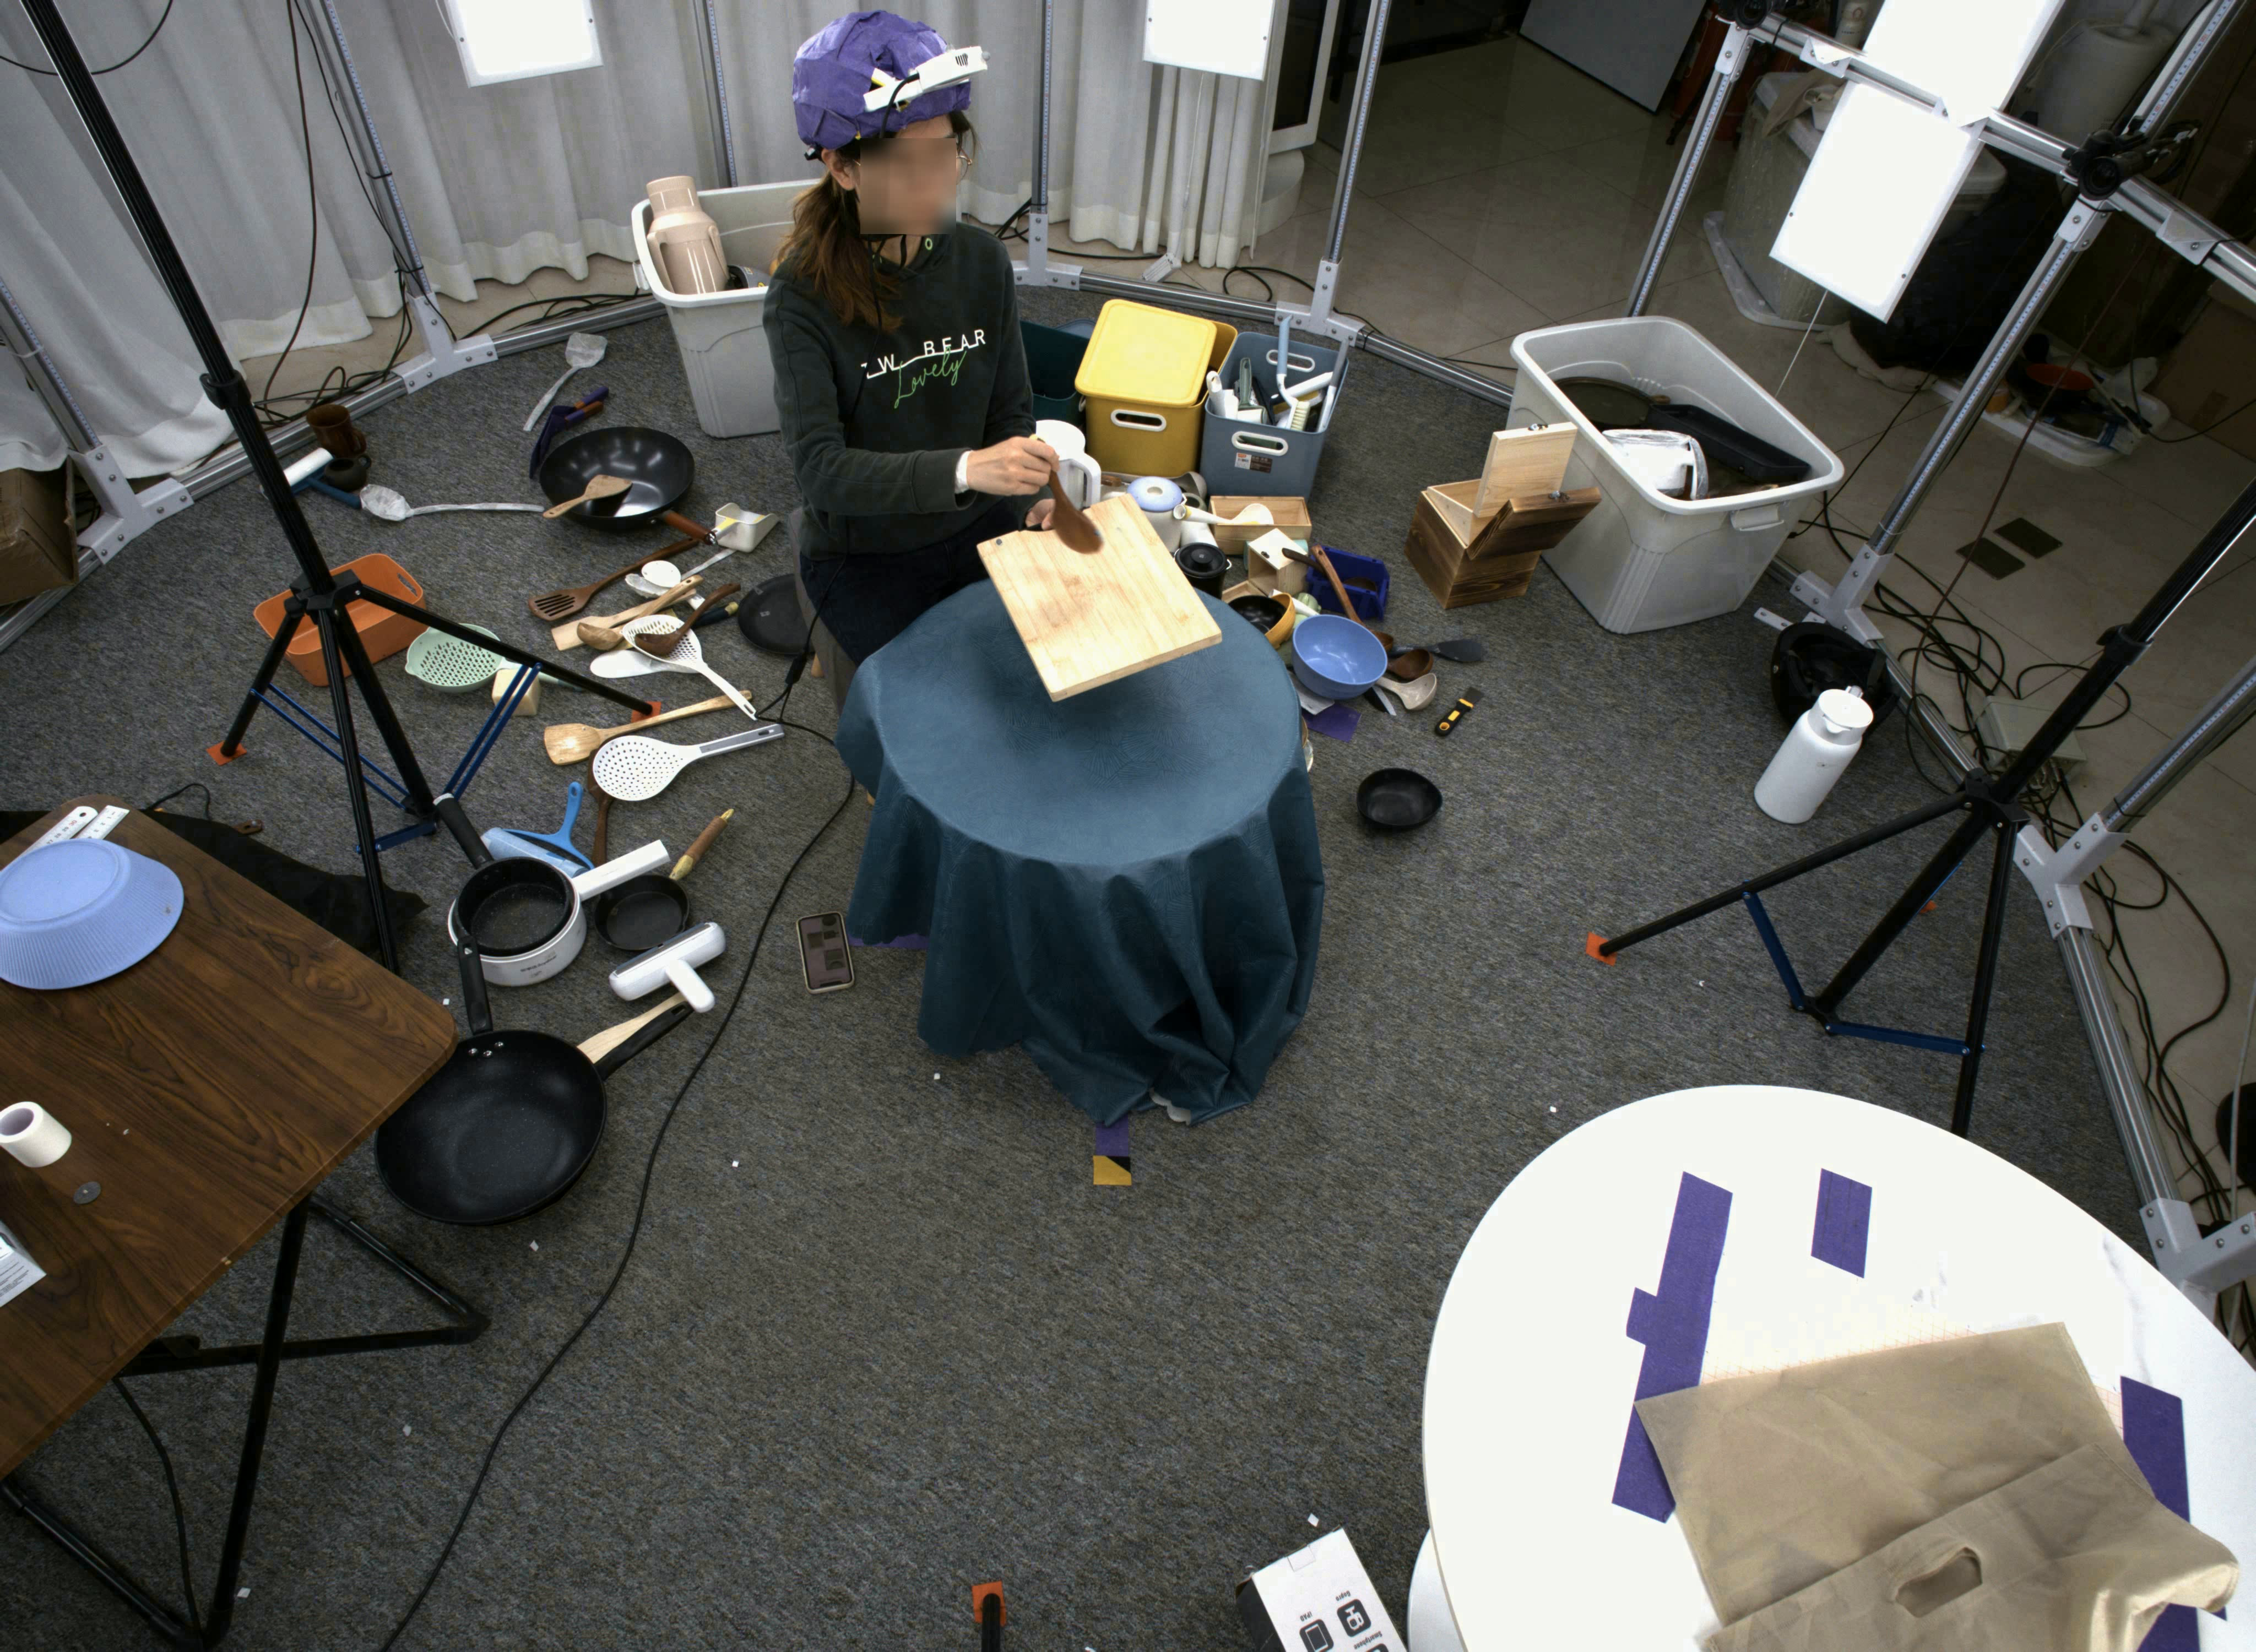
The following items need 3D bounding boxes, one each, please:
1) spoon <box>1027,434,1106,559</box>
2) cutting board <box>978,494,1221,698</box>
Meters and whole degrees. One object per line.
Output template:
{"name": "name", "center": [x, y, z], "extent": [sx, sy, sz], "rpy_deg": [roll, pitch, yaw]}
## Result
{"name": "spoon", "center": [-0.084, -0.424, 1.686], "extent": [0.076, 0.211, 0.017], "rpy_deg": [20, 65, 33]}
{"name": "cutting board", "center": [-0.048, -0.328, 1.797], "extent": [0.251, 0.023, 0.357], "rpy_deg": [-20, 49, -9]}
